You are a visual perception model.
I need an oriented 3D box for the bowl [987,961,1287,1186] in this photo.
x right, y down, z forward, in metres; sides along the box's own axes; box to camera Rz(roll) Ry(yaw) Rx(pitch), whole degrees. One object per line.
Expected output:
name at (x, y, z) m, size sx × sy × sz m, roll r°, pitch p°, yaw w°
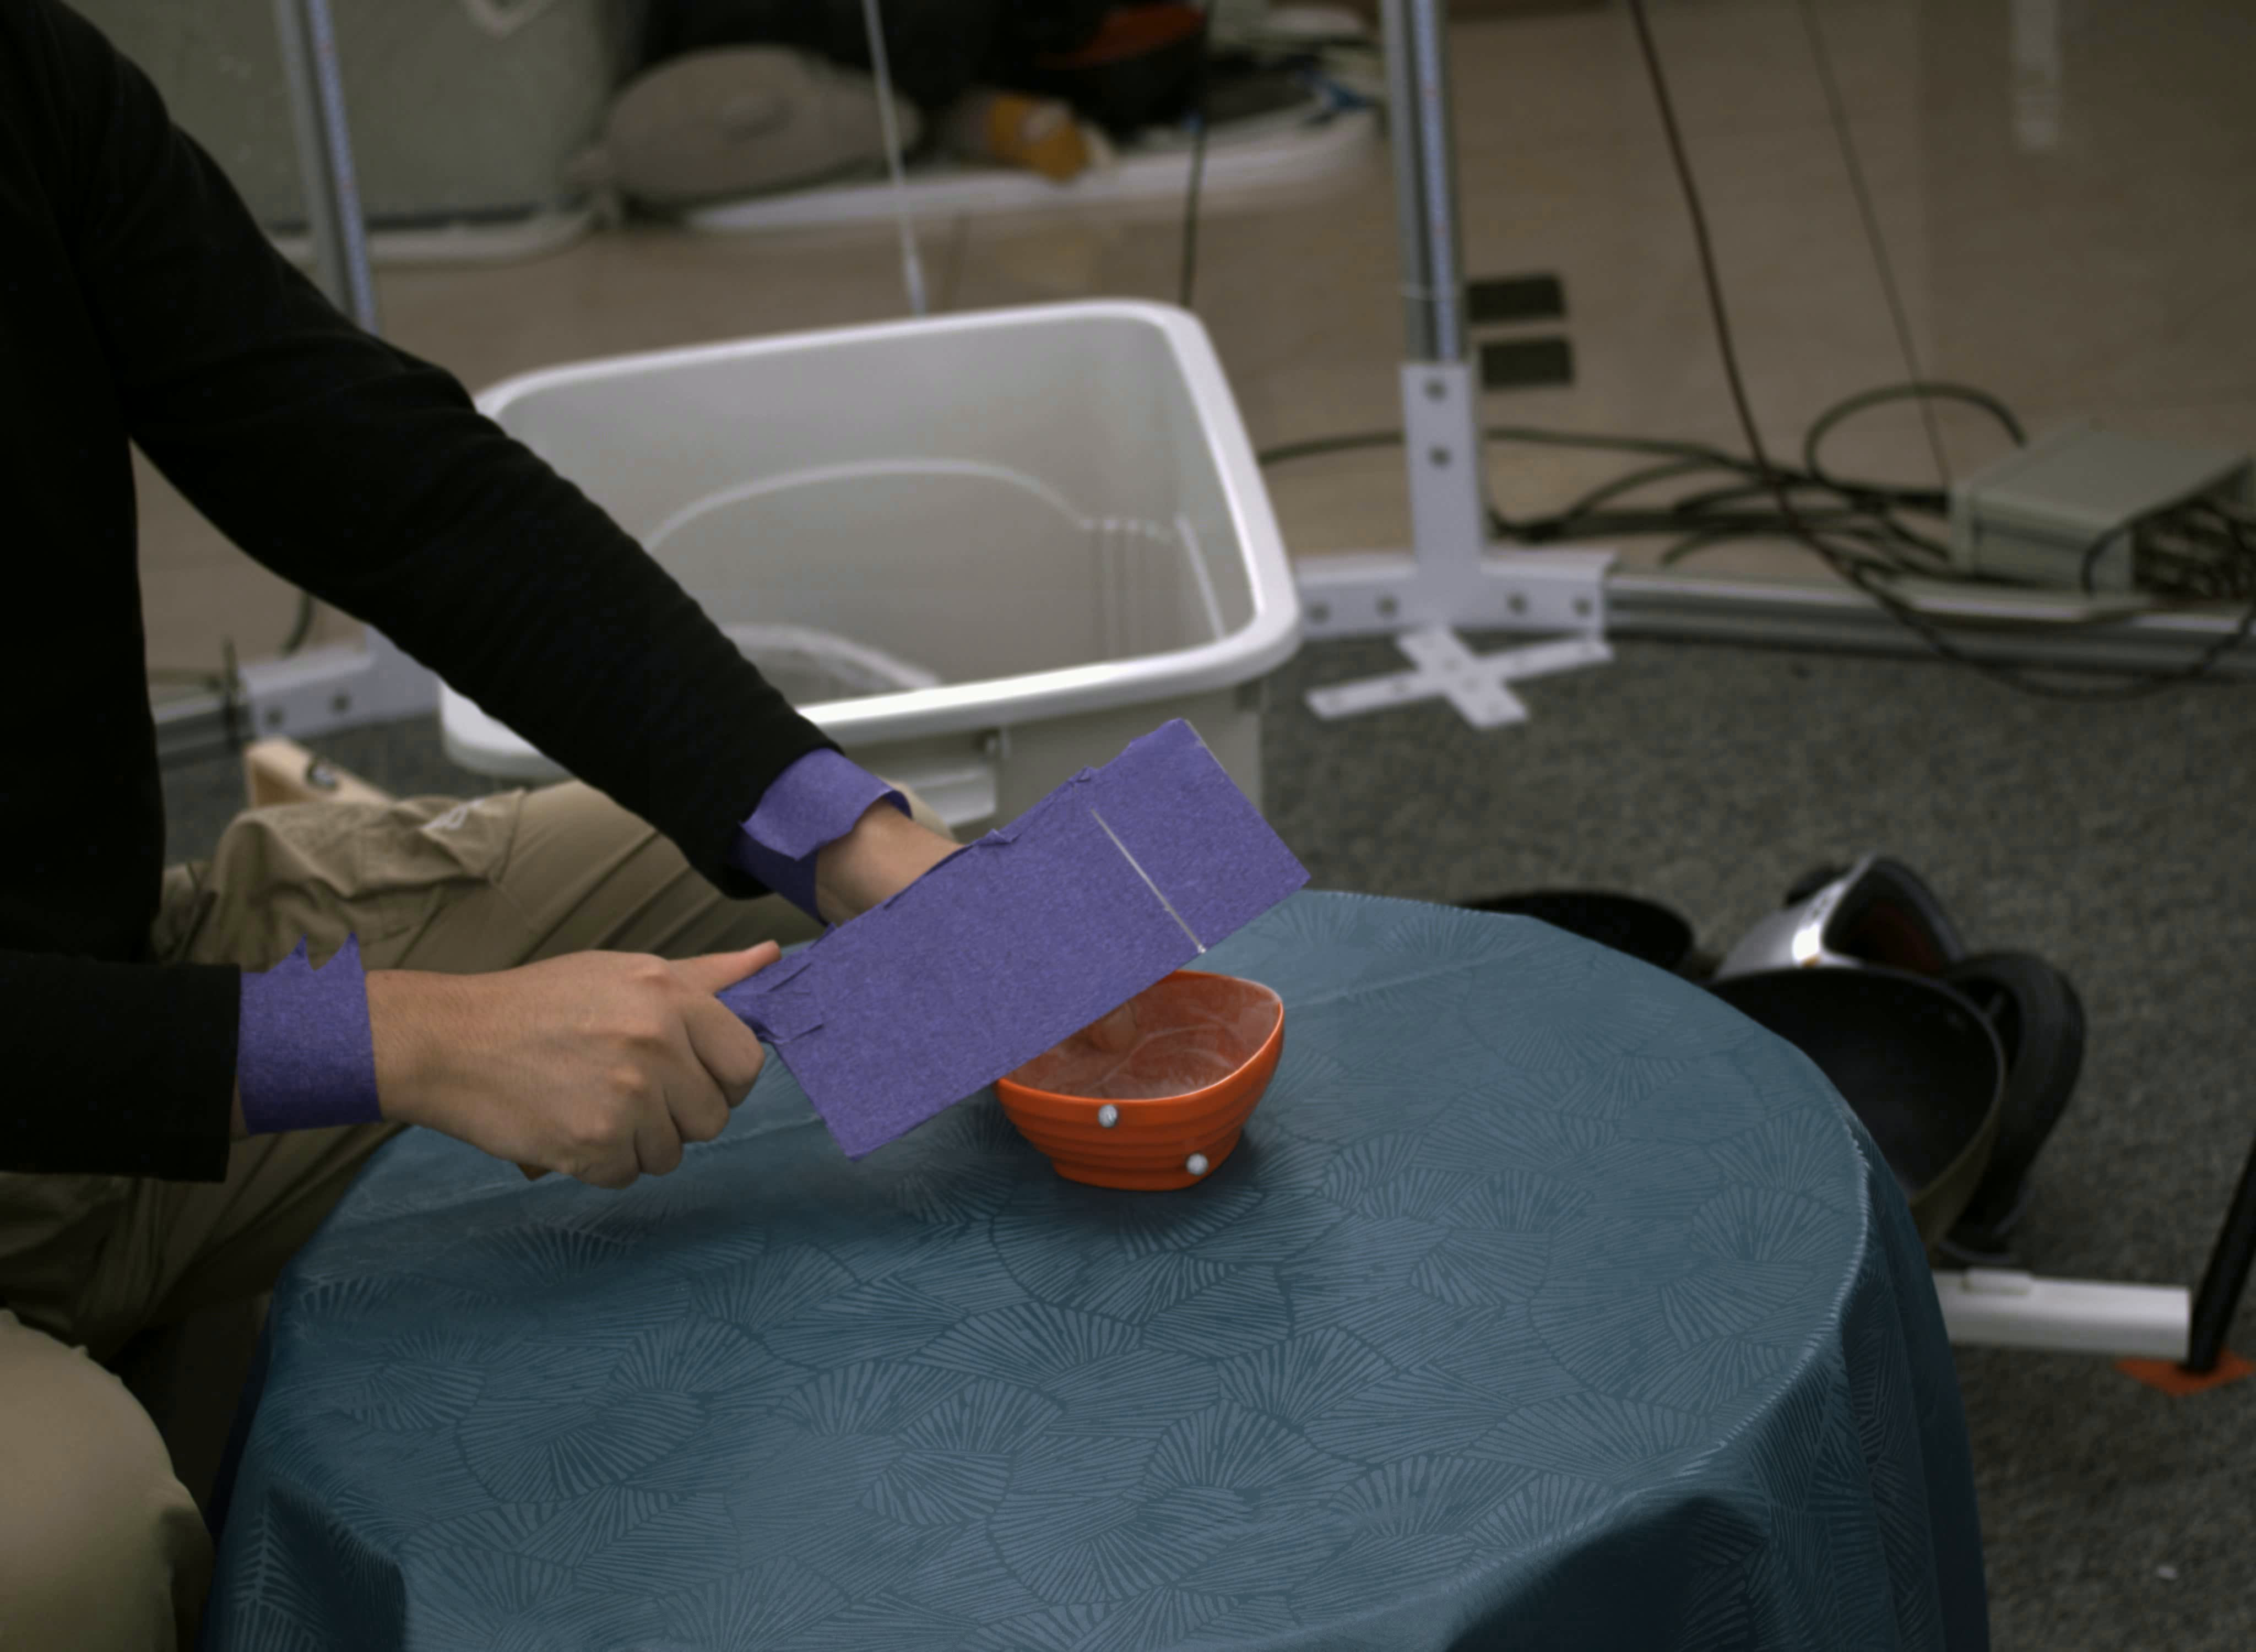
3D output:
bowl at (0.005, 0.099, 2.168) m, size 0.119 × 0.052 × 0.117 m, roll -4°, pitch 26°, yaw 2°

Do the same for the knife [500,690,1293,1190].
knife at (-0.085, 0.064, 2.151) m, size 0.314 × 0.032 × 0.102 m, roll -33°, pitch 64°, yaw -7°
